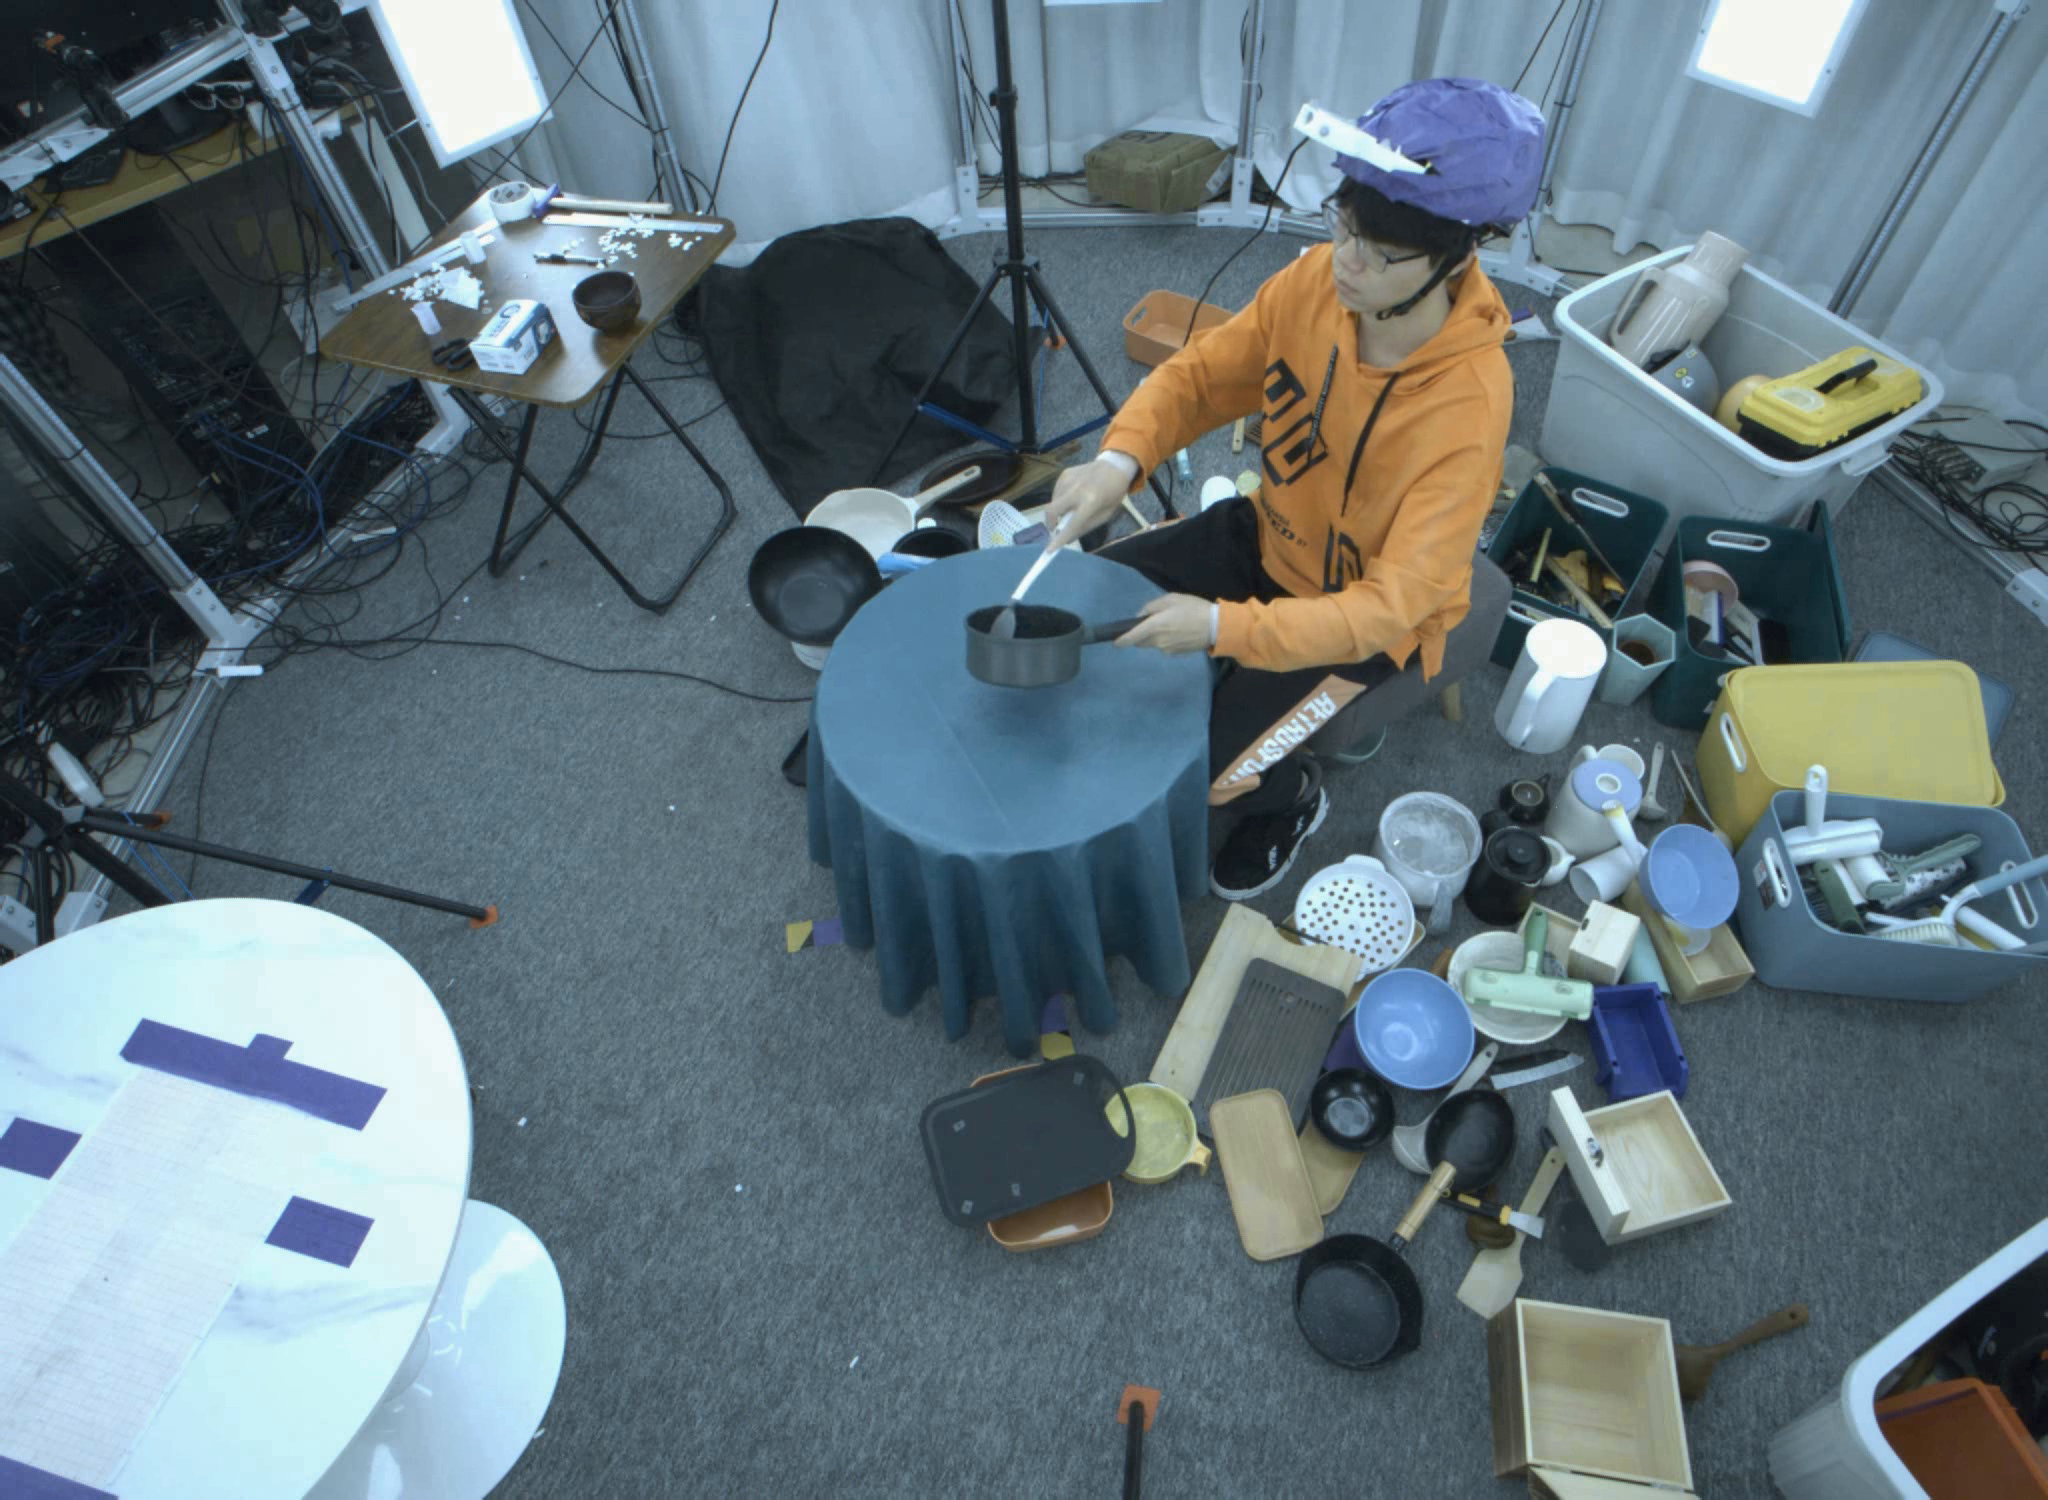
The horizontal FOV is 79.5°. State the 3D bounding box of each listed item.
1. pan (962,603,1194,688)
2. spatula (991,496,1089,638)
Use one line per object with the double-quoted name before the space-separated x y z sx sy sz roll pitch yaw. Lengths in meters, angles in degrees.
"pan" 0.077 -0.152 1.749 0.330 0.087 0.170 -2 26 -6
"spatula" 0.012 -0.239 1.765 0.057 0.033 0.287 20 78 42
